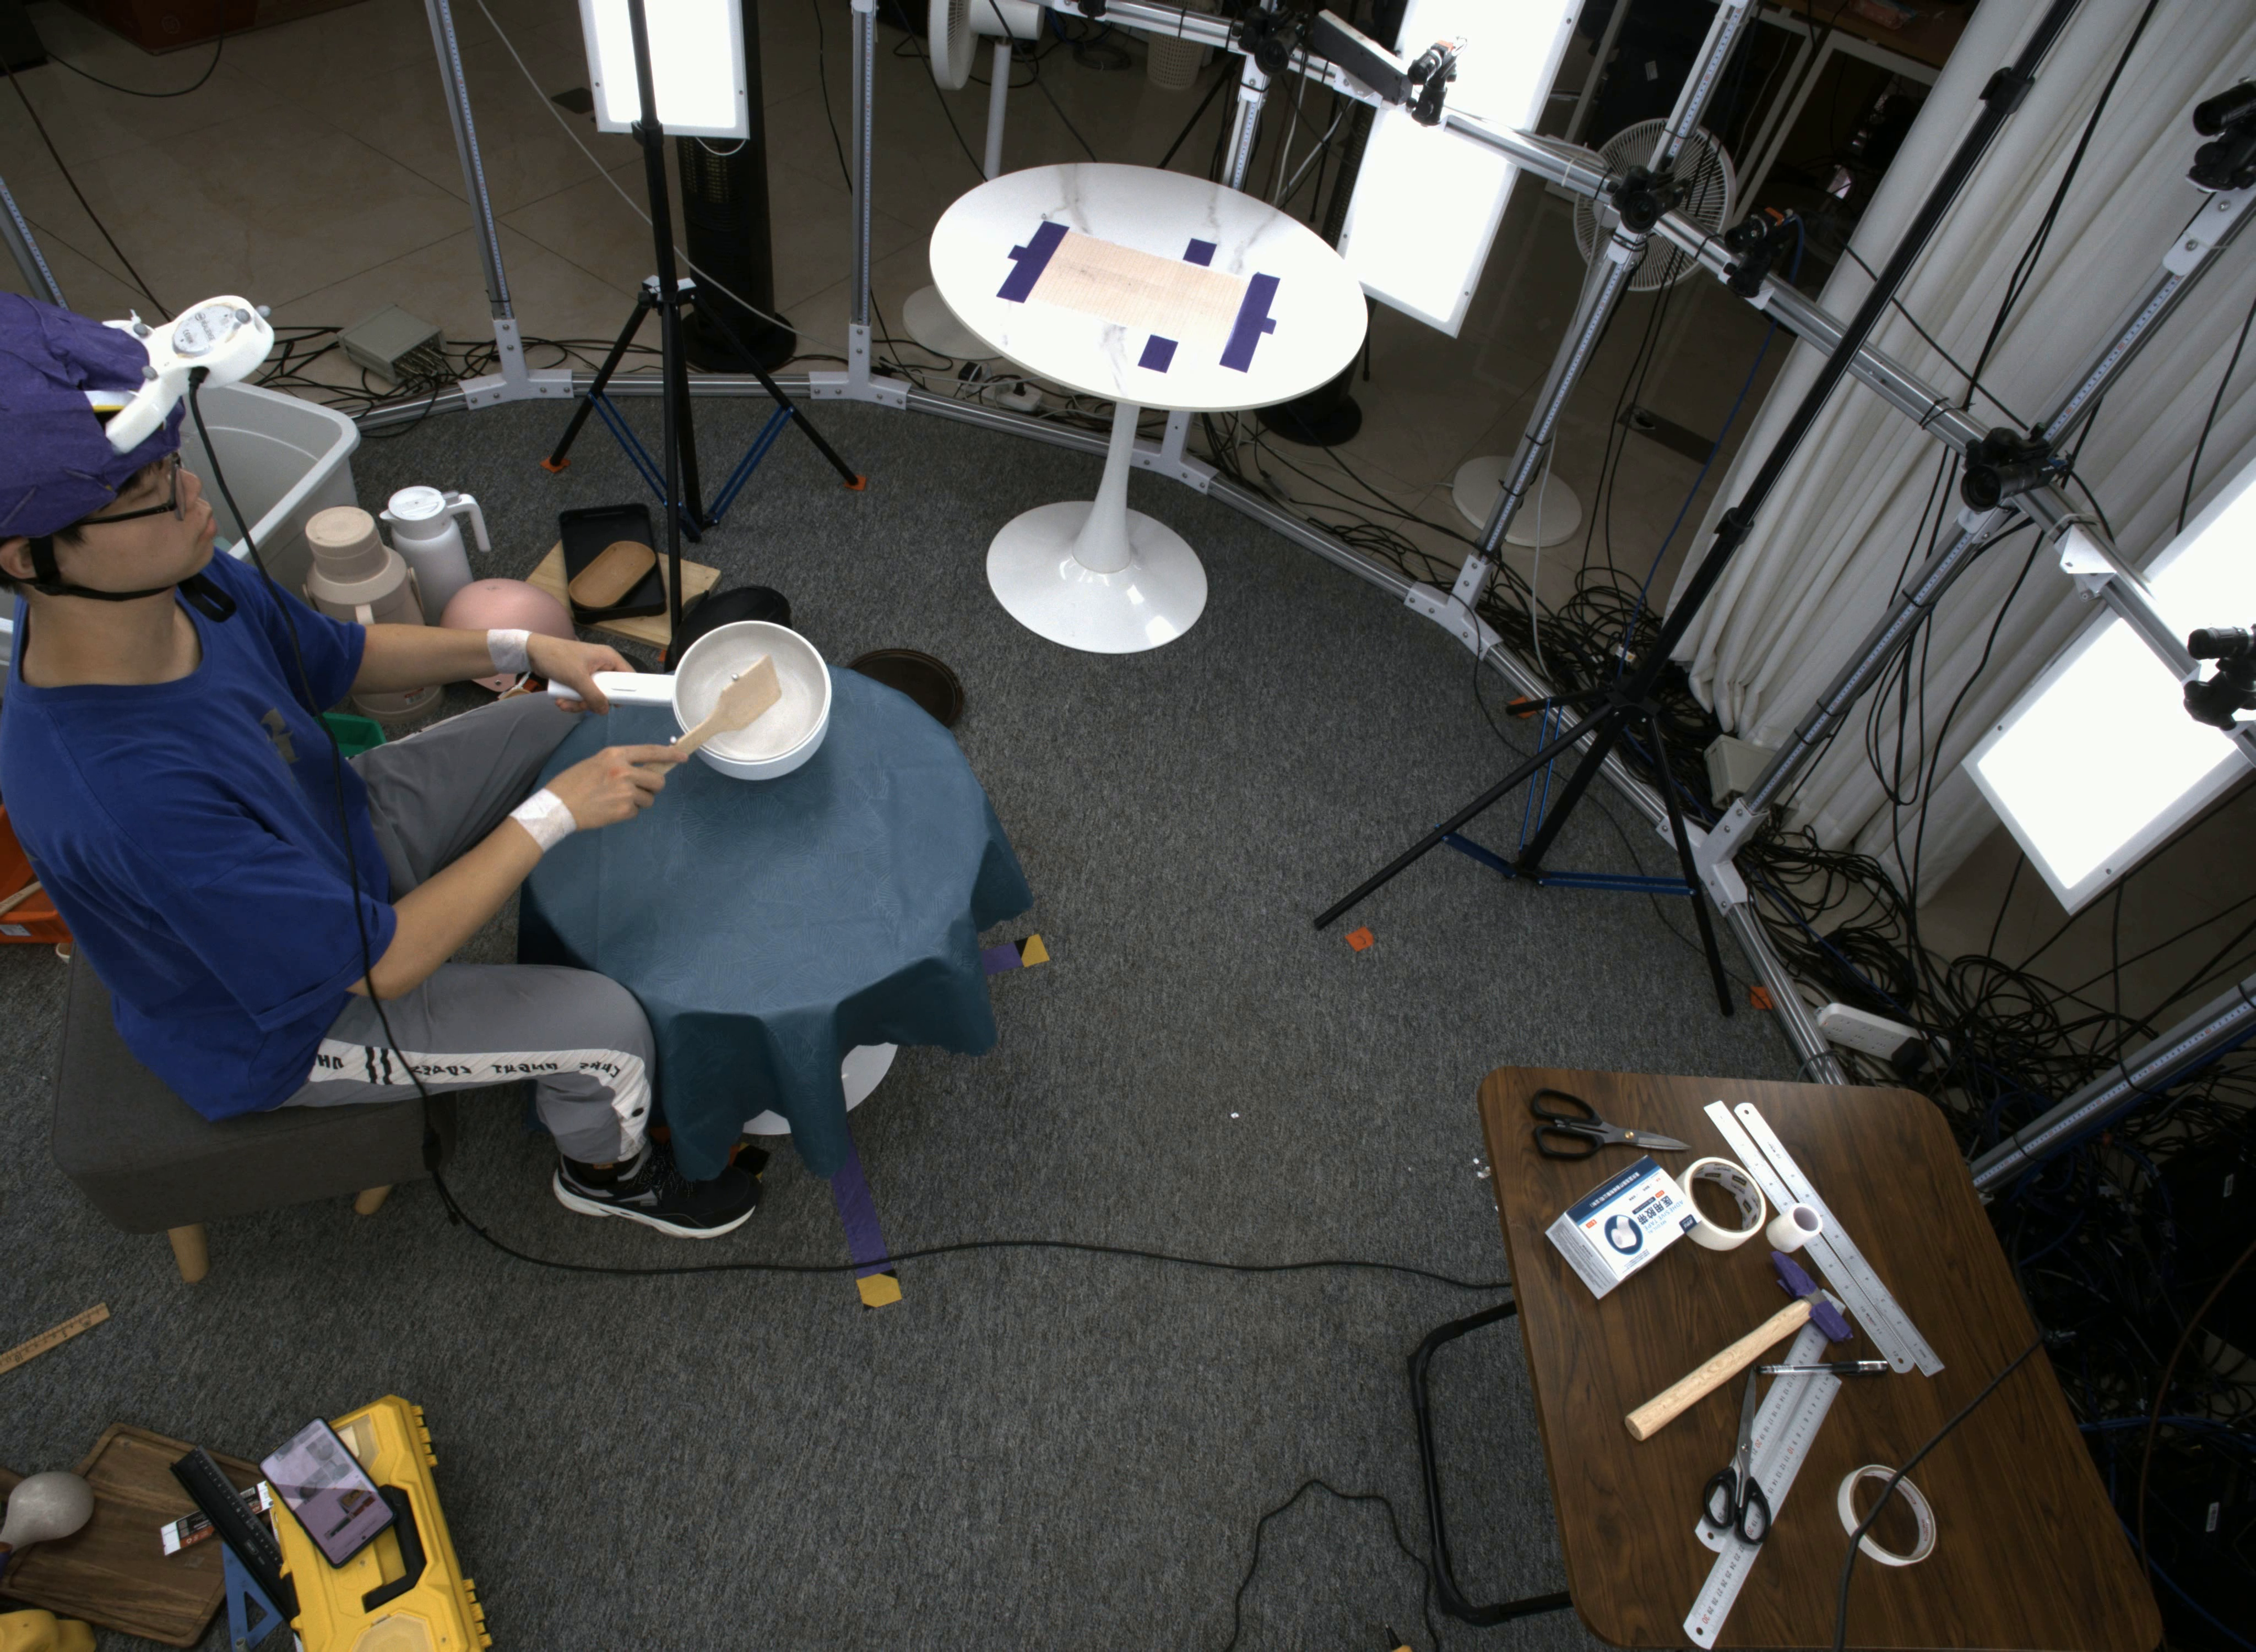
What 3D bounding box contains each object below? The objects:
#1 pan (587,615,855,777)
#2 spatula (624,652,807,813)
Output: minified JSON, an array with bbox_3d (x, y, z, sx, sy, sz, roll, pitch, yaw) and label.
[{"bbox_3d":[-0.540,-0.172,1.709,0.355,0.102,0.201,3,75,-12],"label":"pan"},{"bbox_3d":[-0.502,-0.111,1.572,0.010,0.074,0.293,27,53,25],"label":"spatula"}]
